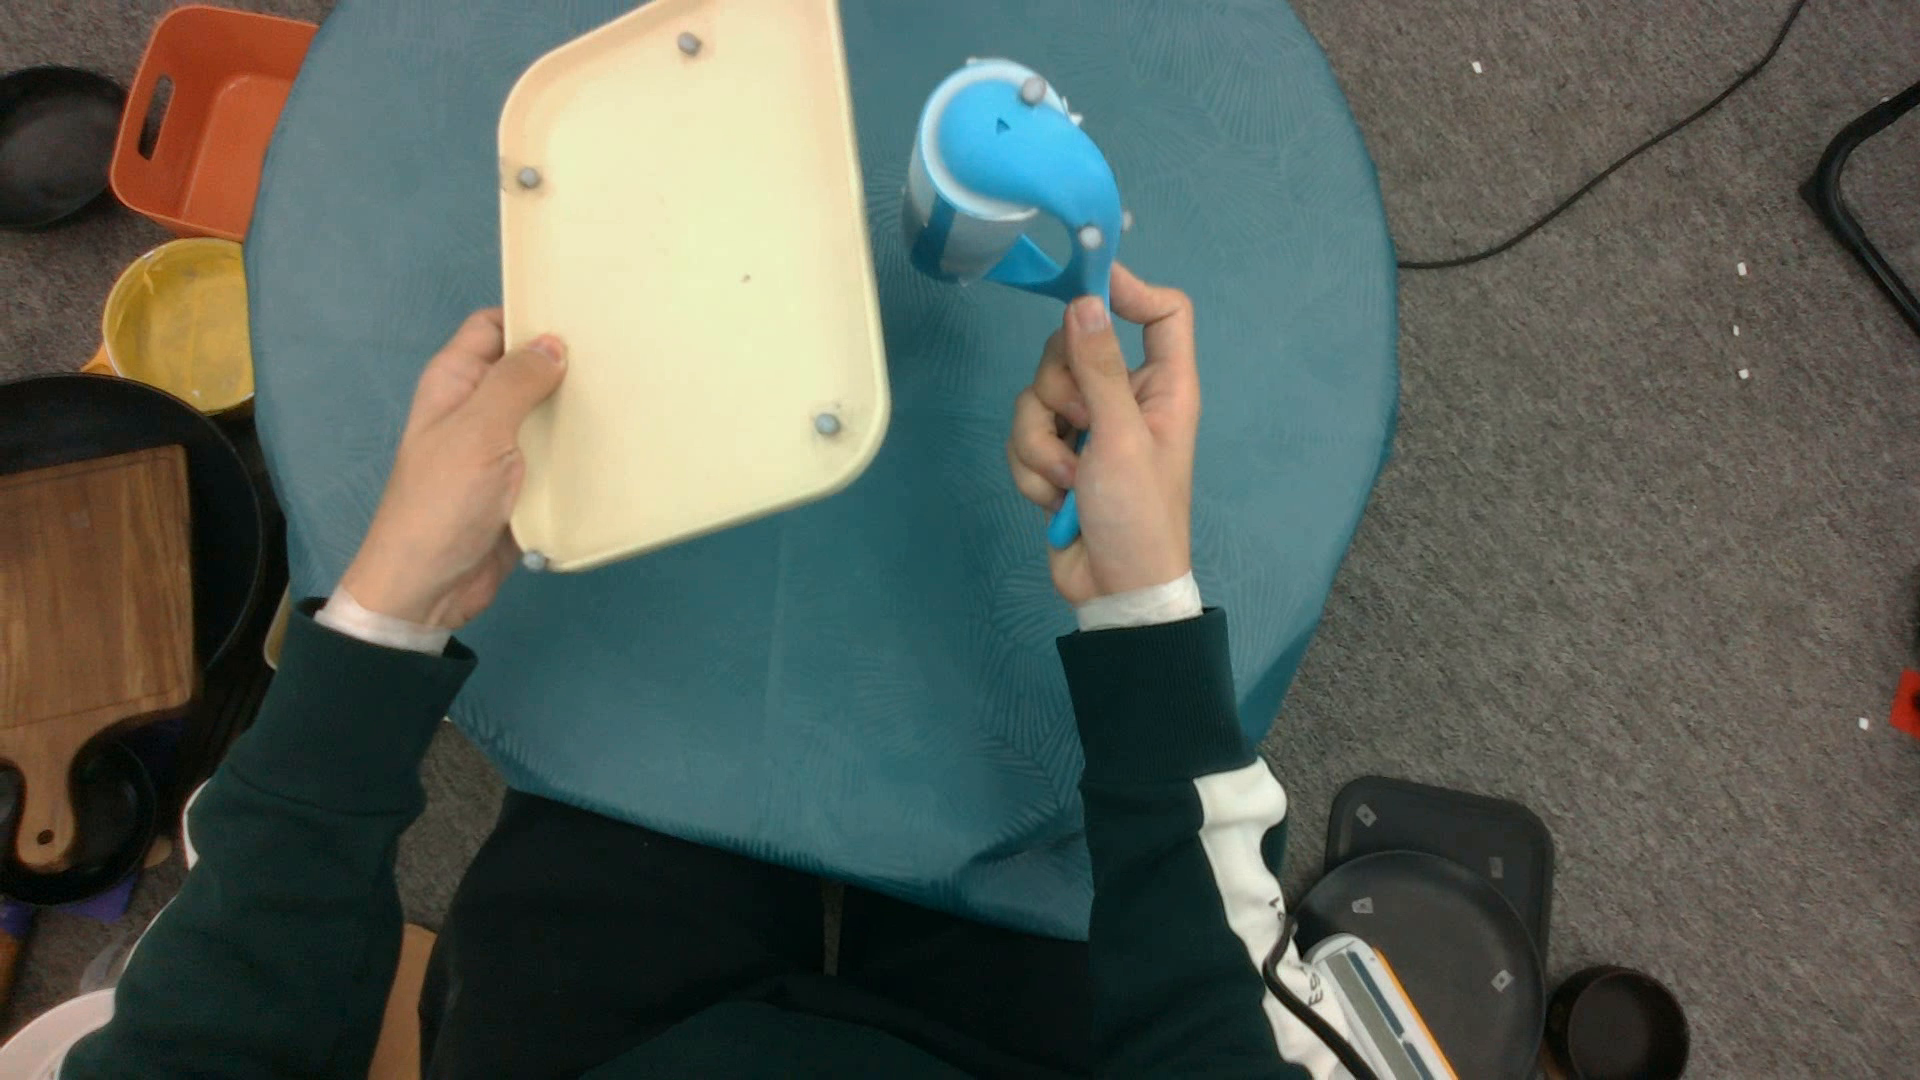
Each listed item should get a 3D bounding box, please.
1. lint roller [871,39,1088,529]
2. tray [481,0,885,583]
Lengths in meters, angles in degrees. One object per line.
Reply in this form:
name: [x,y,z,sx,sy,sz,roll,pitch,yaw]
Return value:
lint roller: [0.019,-0.099,0.571,0.068,0.229,0.180,-26,98,-3]
tray: [-0.116,-0.108,0.551,0.171,0.017,0.240,-16,69,19]
